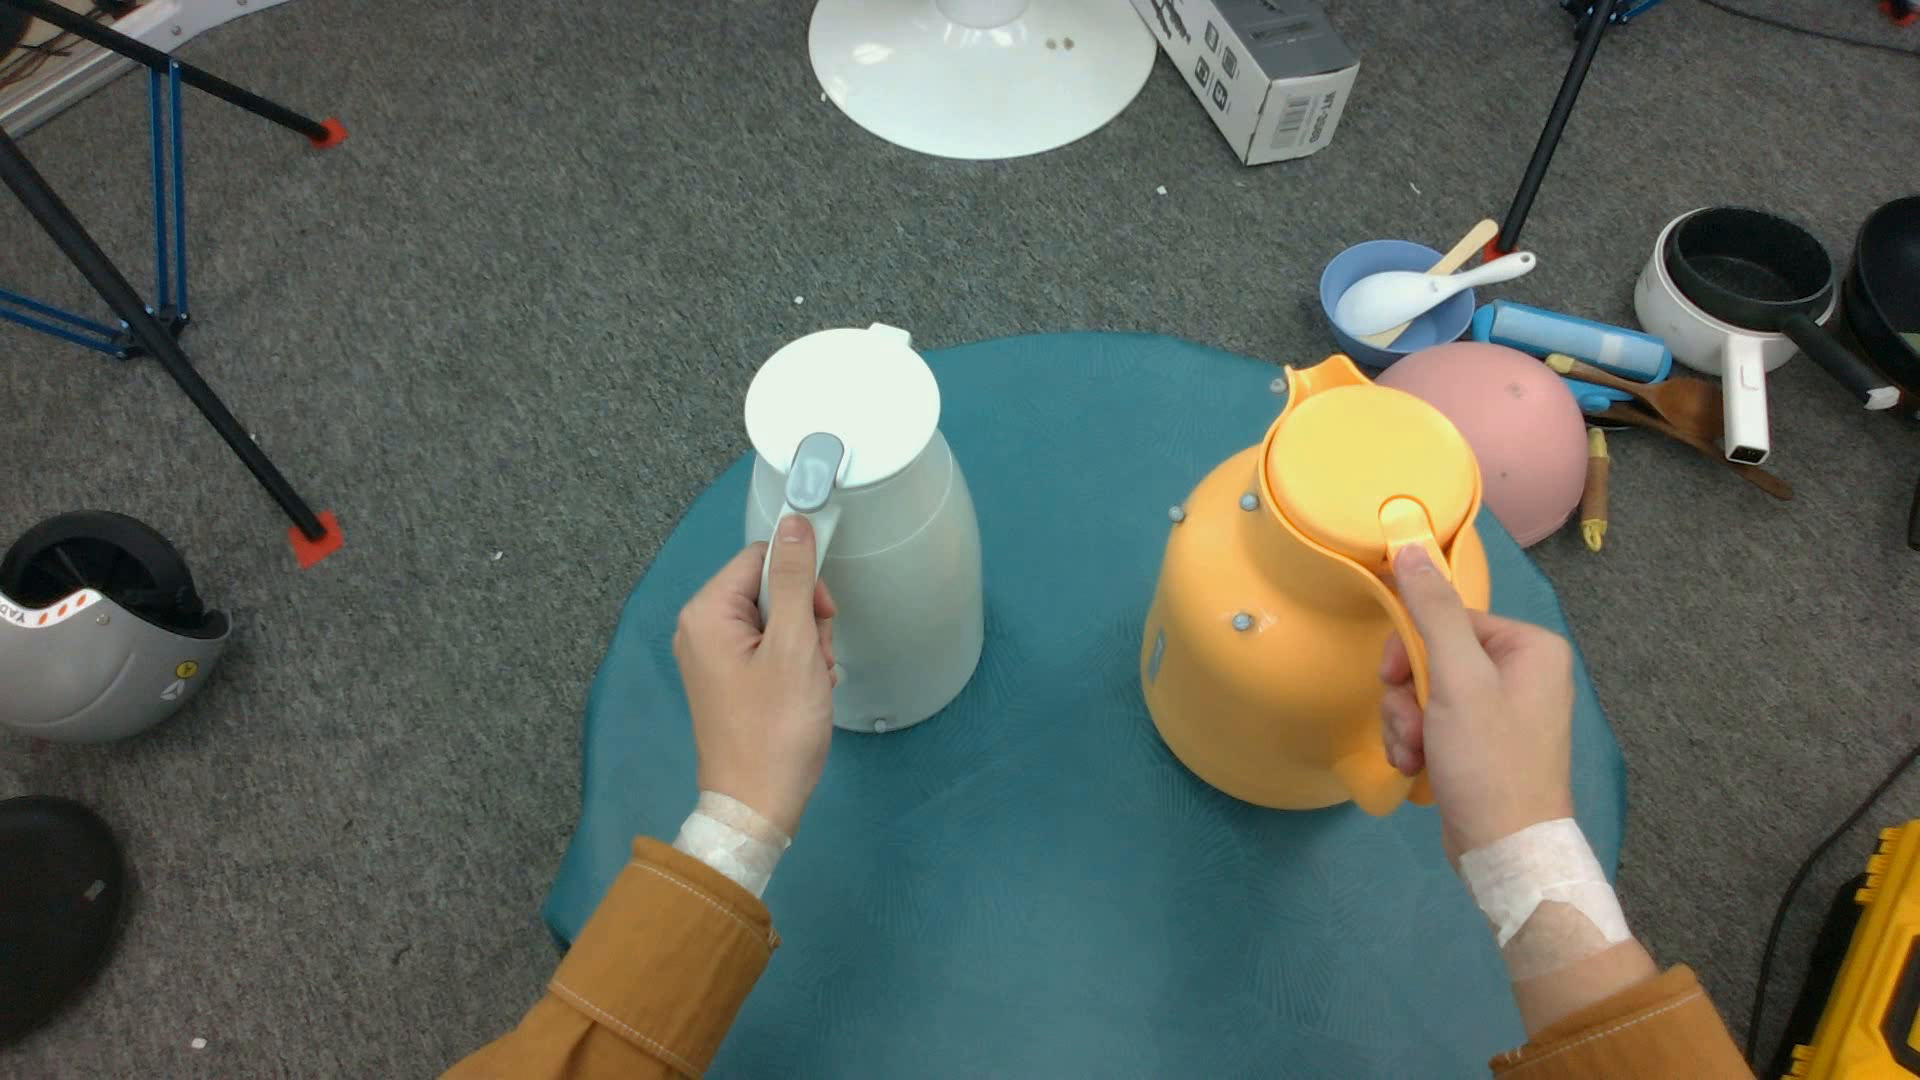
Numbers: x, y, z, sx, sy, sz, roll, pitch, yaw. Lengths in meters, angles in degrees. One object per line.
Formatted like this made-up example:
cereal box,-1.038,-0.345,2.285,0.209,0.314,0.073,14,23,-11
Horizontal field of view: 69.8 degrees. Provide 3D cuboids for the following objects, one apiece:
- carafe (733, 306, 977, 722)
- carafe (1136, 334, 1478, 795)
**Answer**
carafe,-0.063,0.004,0.728,0.132,0.247,0.168,16,61,10
carafe,0.183,0.036,0.703,0.163,0.259,0.203,-12,59,-4
